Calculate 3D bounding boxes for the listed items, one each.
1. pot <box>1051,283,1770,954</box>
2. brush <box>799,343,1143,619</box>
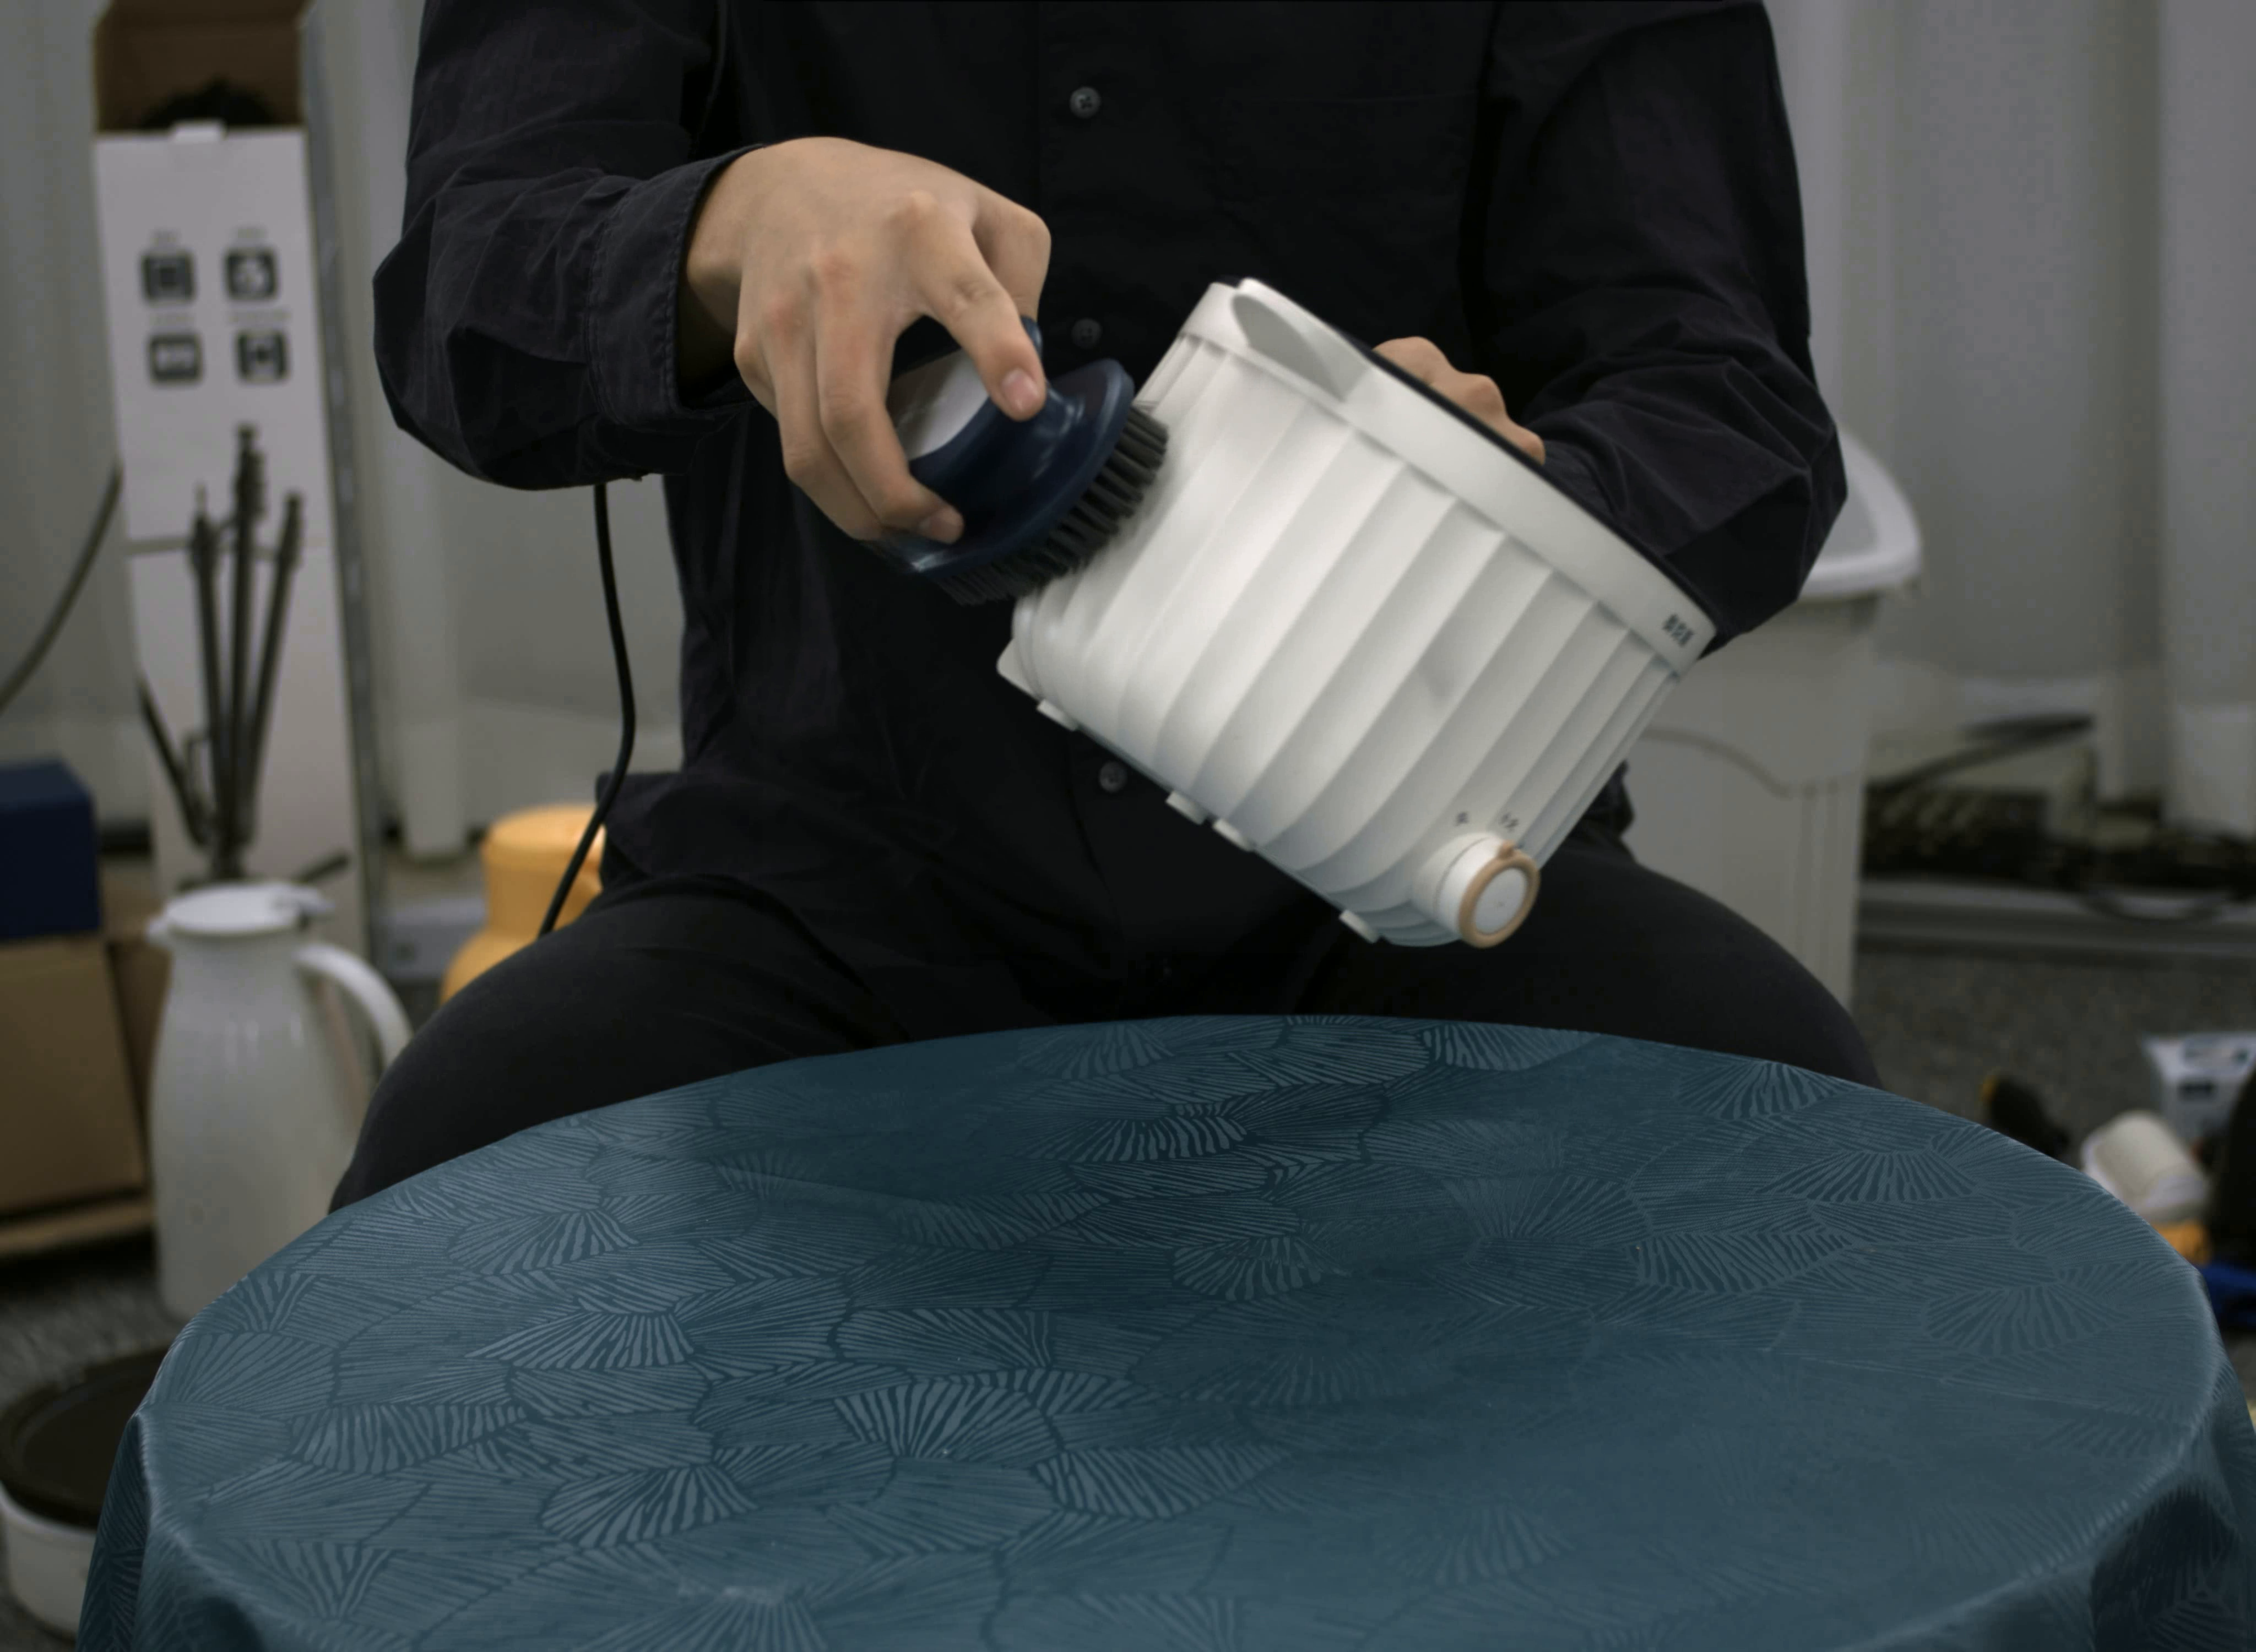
[{"bbox_3d":[0.083,-0.051,1.624,0.192,0.143,0.237,30,-2,37],"label":"pot"},{"bbox_3d":[-0.045,-0.098,1.603,0.060,0.068,0.122,34,-19,-23],"label":"brush"}]
